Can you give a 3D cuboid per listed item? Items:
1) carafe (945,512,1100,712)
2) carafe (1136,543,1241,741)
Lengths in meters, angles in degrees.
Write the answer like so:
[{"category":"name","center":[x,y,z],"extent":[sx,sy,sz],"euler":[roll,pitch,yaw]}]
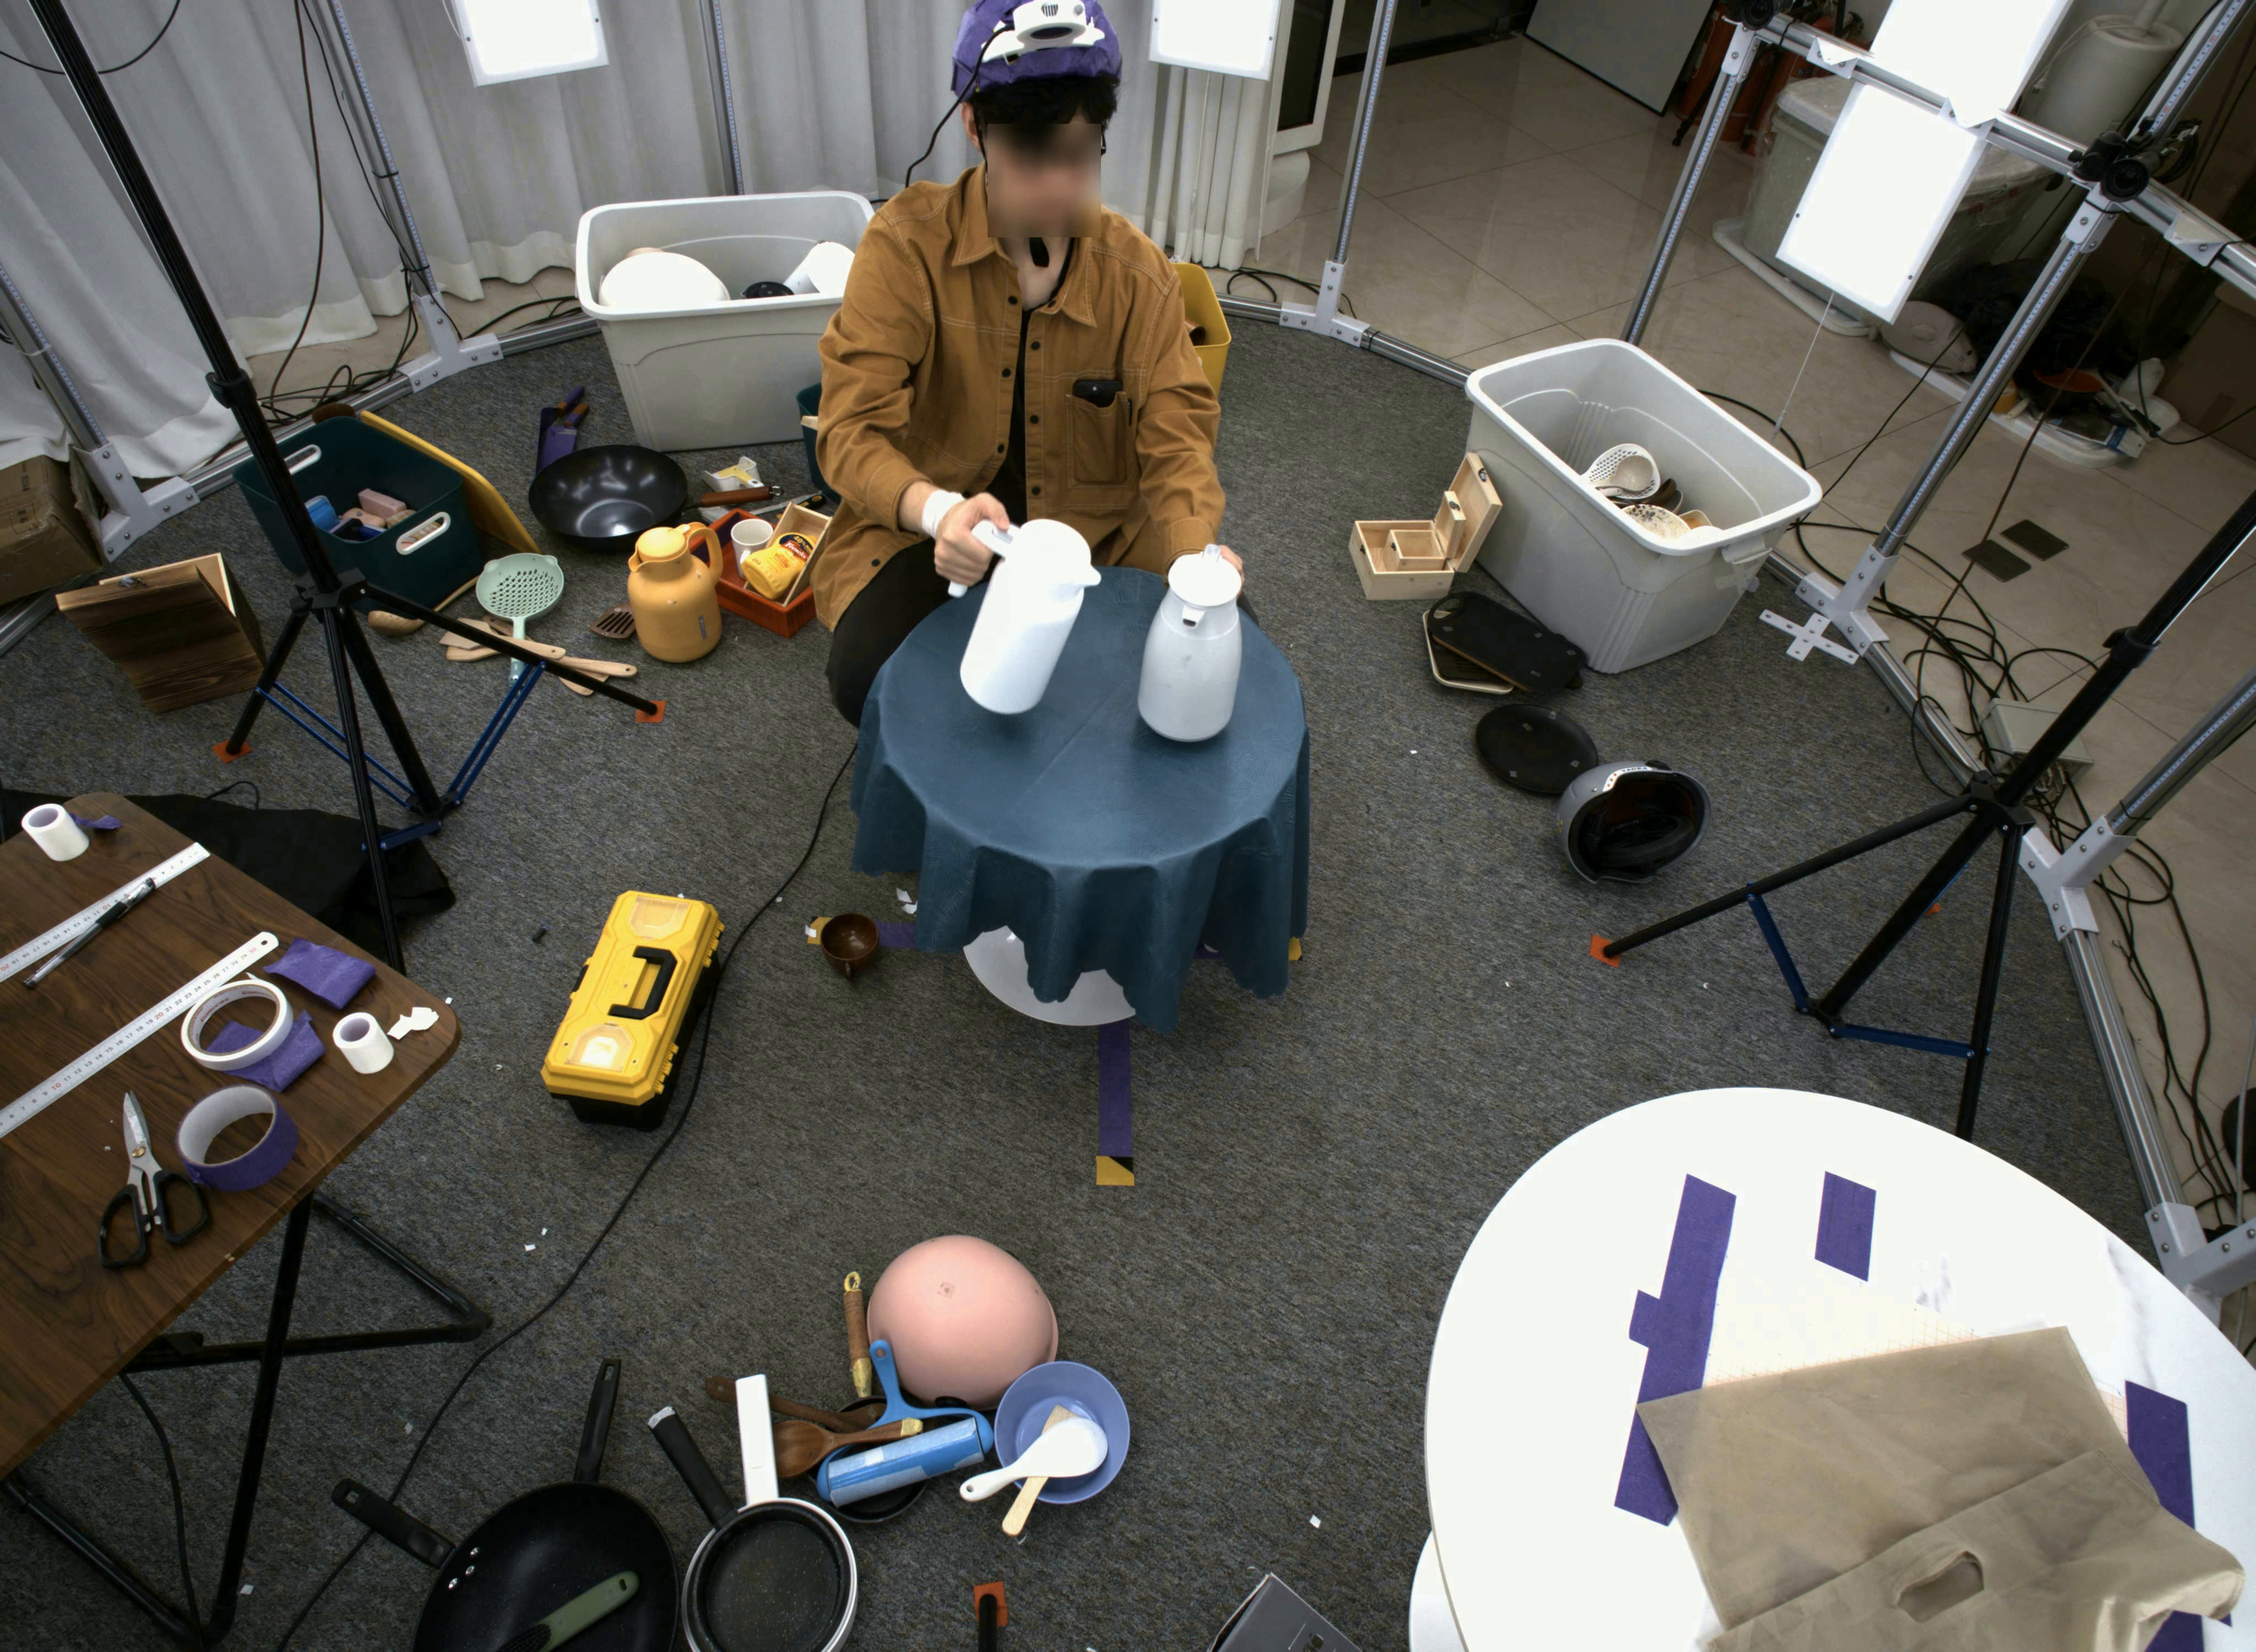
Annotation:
[{"category":"carafe","center":[-0.149,-0.272,1.634],"extent":[0.172,0.264,0.126],"euler":[26,55,-3]},{"category":"carafe","center":[0.090,-0.255,1.692],"extent":[0.133,0.243,0.171],"euler":[16,53,8]}]
